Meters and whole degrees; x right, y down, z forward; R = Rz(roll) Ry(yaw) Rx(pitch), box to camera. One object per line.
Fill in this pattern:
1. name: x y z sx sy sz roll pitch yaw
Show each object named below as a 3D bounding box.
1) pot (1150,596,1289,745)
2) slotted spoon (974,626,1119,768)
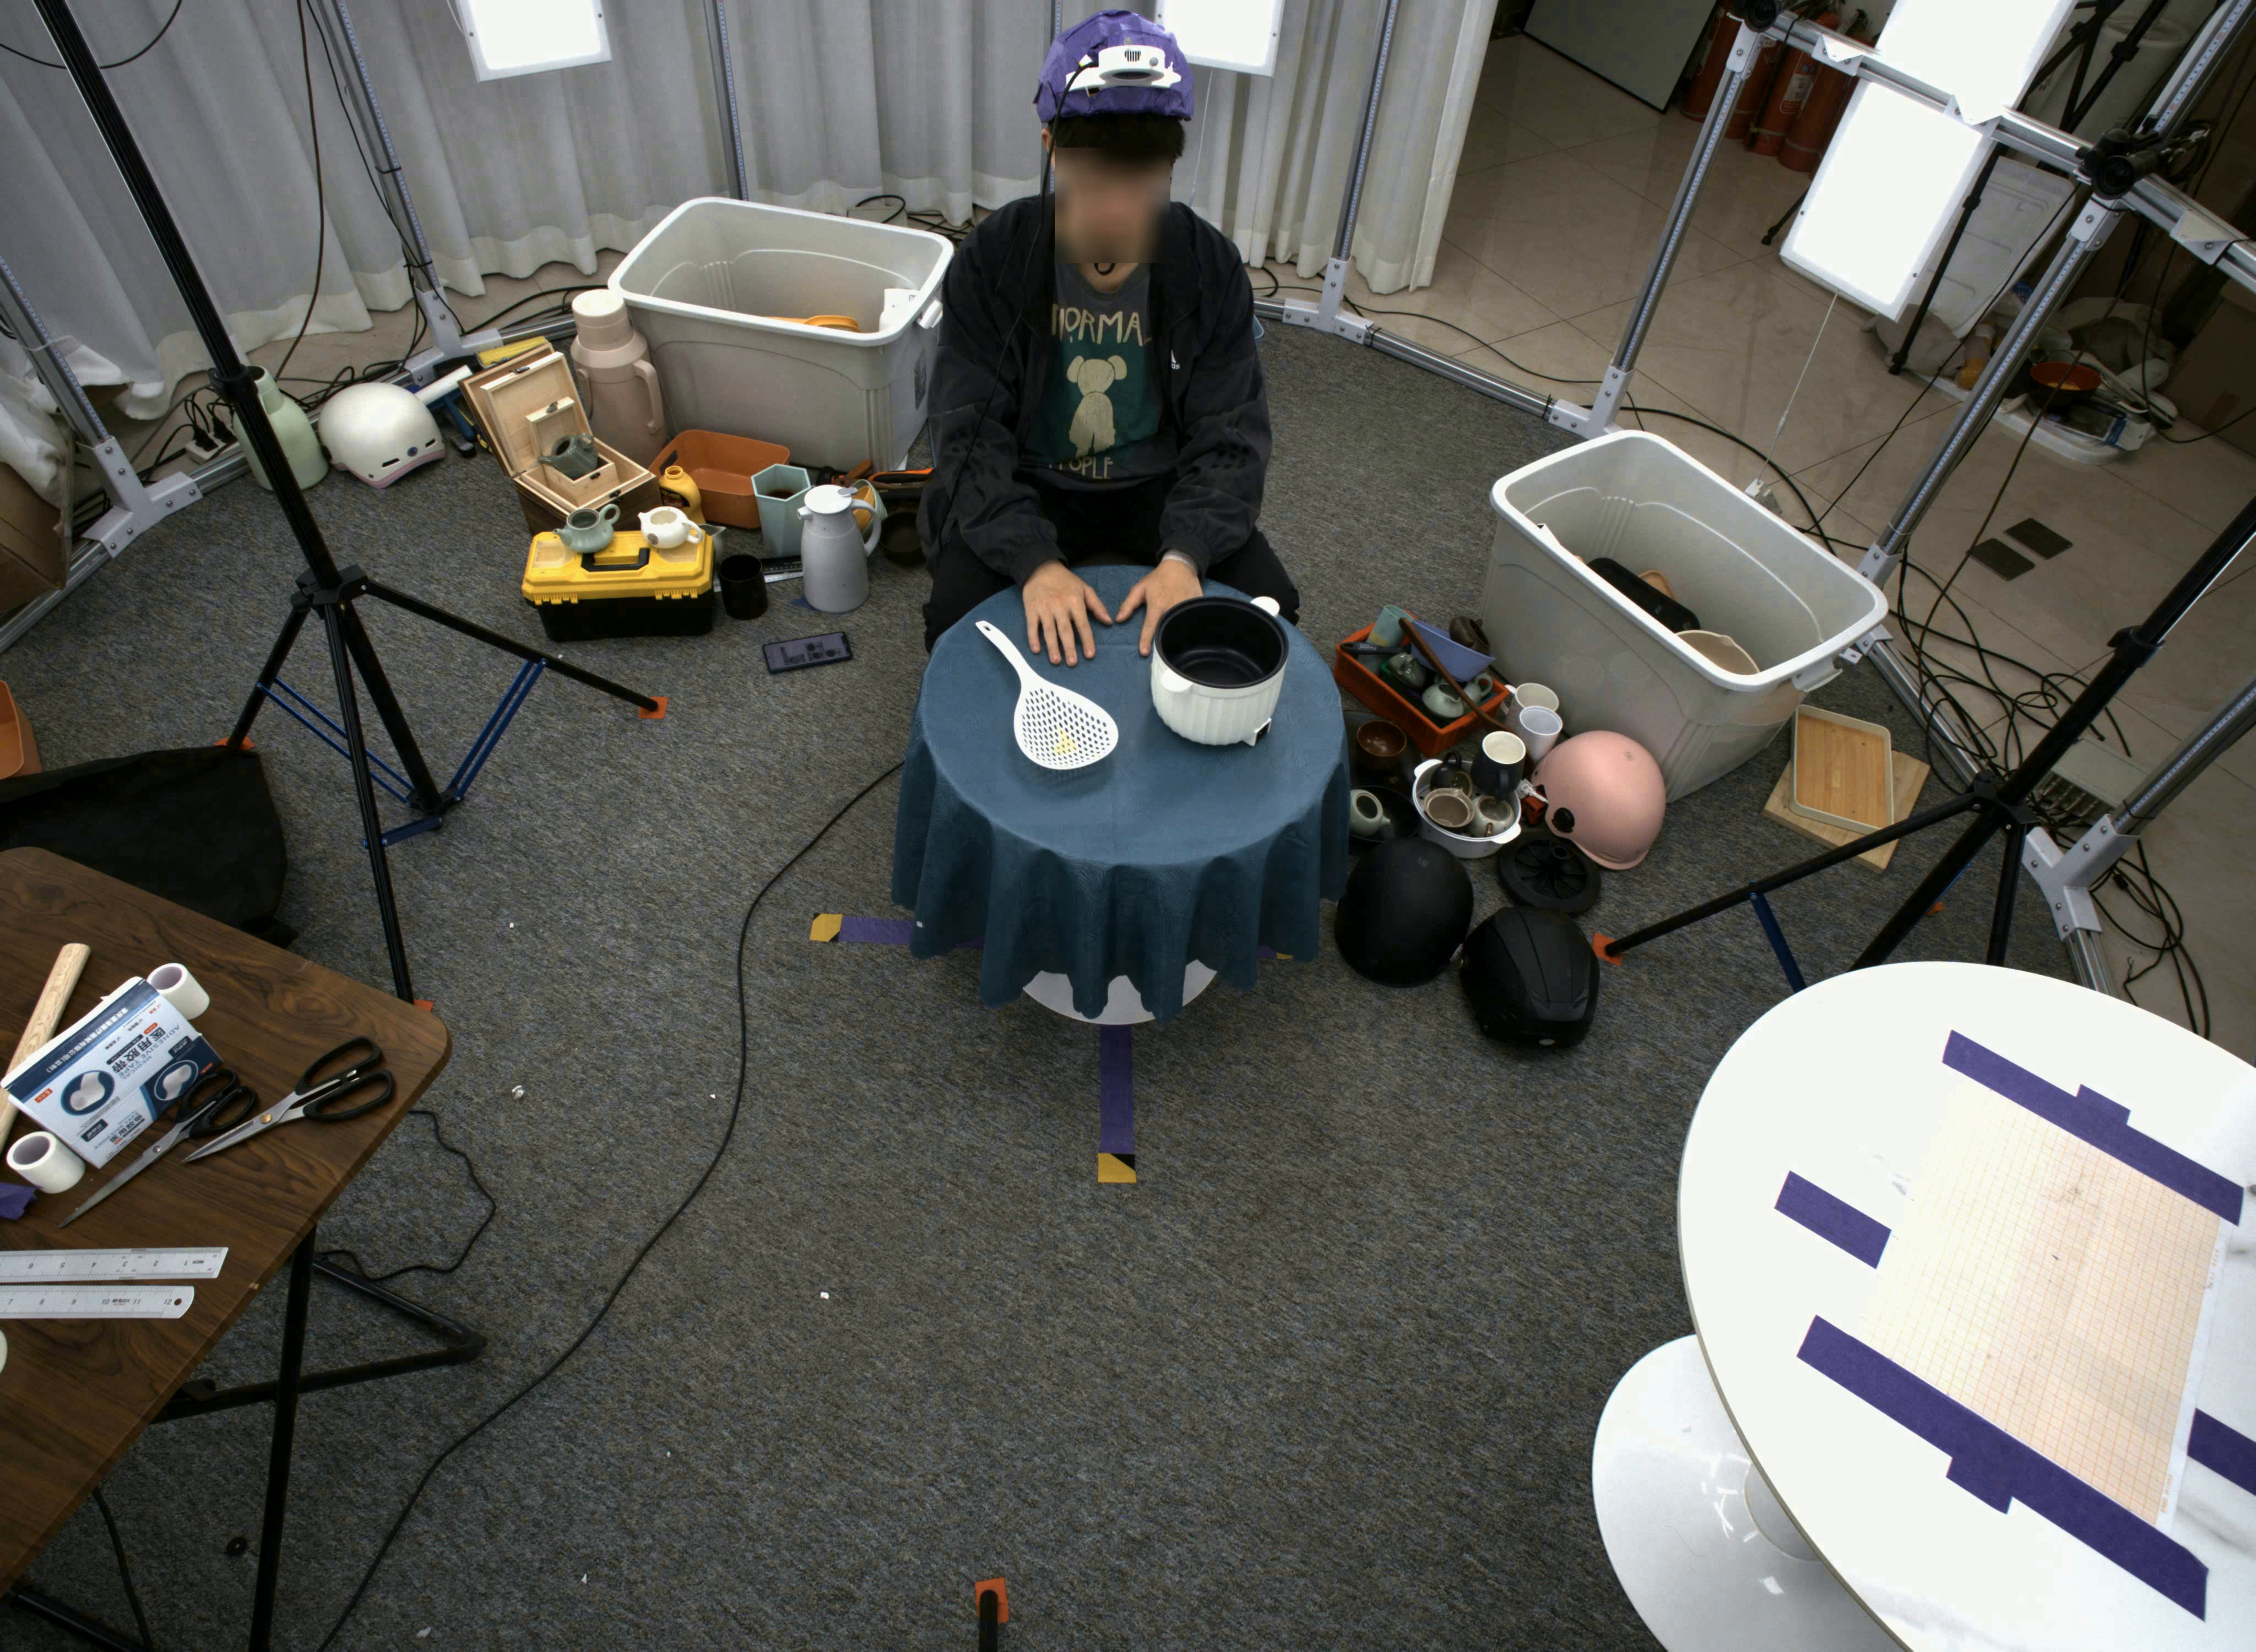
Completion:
1. pot: 0.116 -0.209 1.766 0.193 0.139 0.243 35 54 21
2. slotted spoon: -0.134 -0.192 1.798 0.137 0.049 0.355 -21 53 -18
